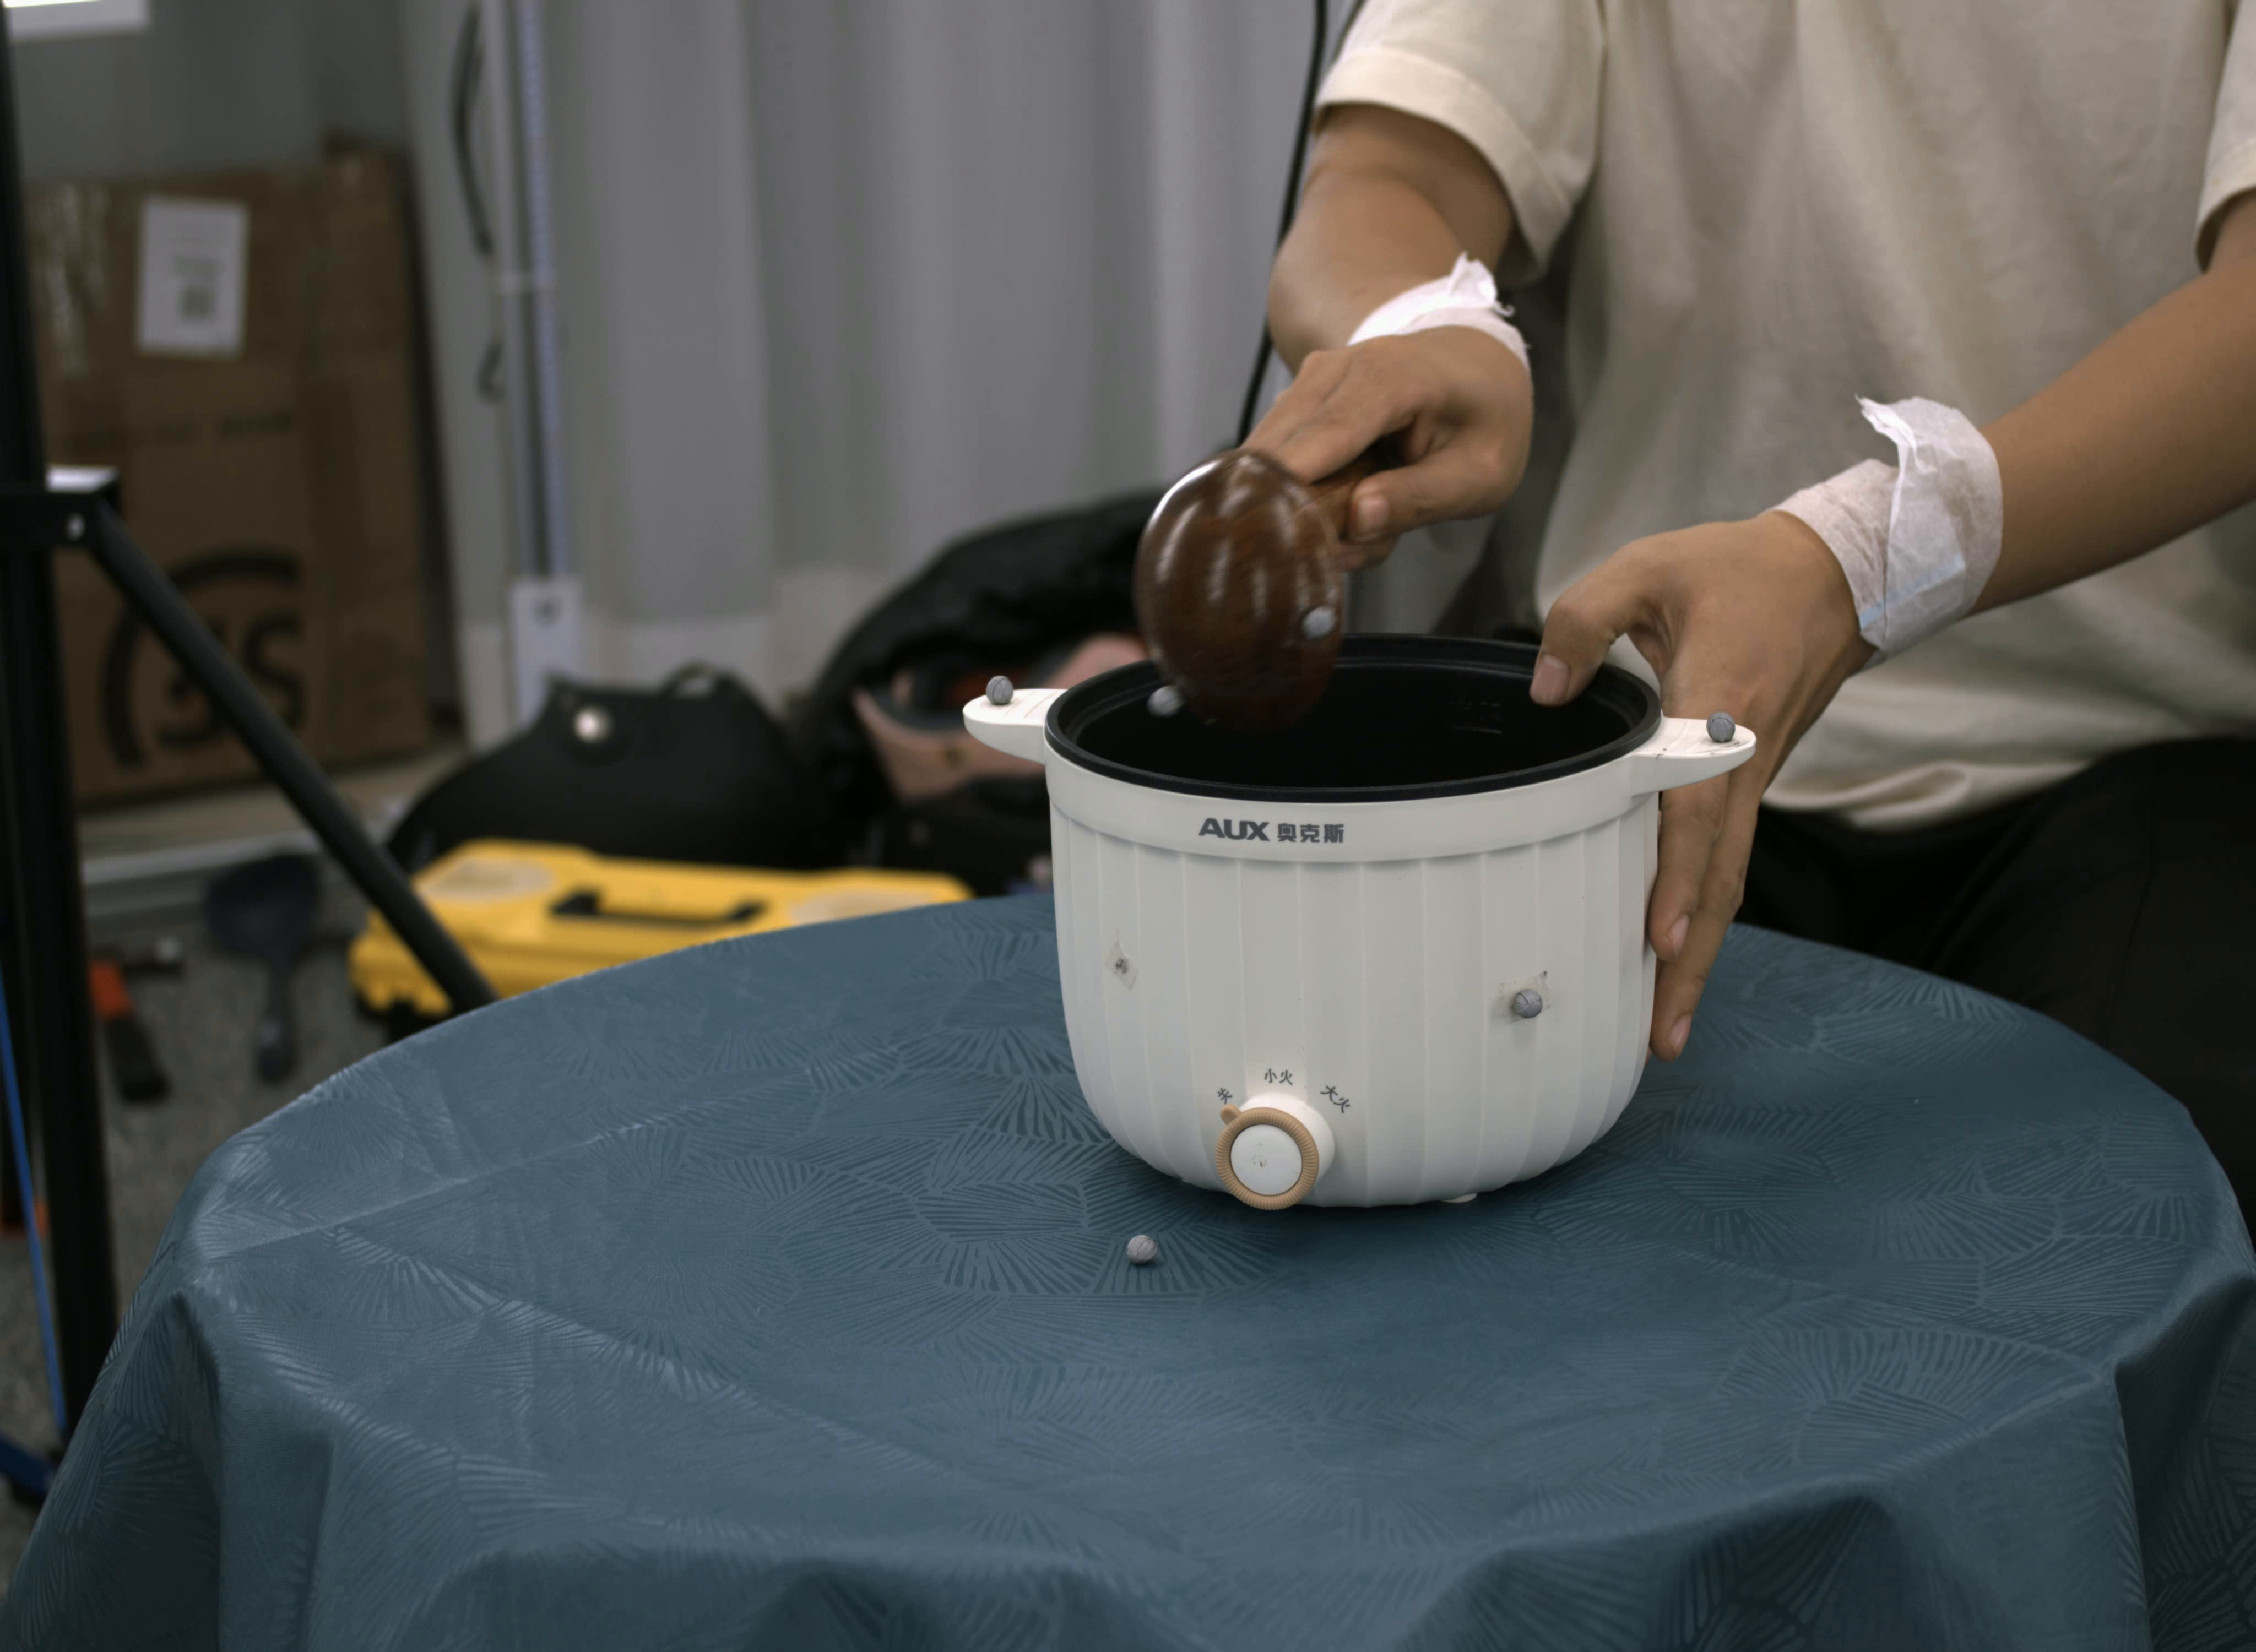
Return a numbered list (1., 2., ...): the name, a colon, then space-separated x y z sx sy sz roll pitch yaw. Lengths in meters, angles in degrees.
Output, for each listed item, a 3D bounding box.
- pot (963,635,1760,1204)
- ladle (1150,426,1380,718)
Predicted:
1. pot: 0.067 0.030 1.565 0.243 0.143 0.188 2 12 19
2. ladle: 0.067 -0.086 1.596 0.077 0.082 0.270 11 11 16
